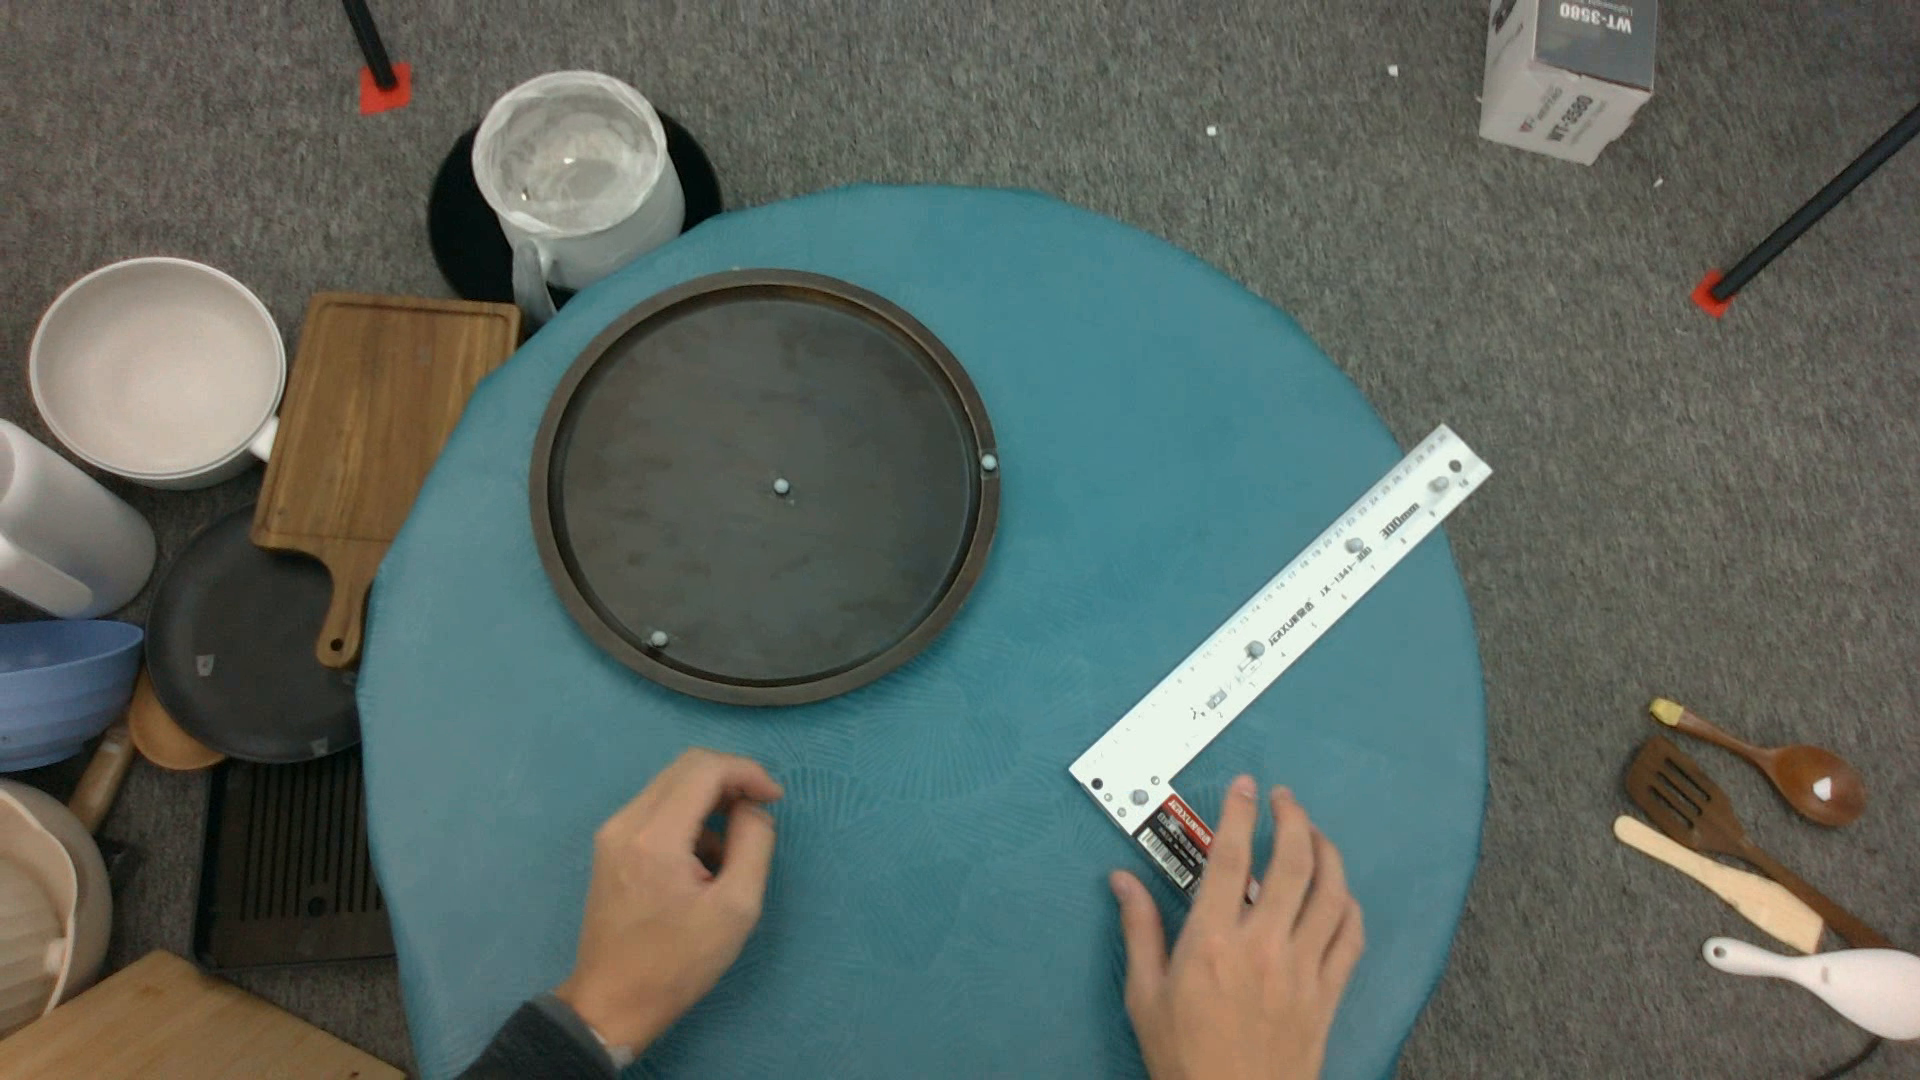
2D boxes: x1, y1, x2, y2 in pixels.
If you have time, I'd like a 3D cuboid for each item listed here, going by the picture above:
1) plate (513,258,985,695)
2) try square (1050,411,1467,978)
[{"bbox_3d":[-0.113,-0.039,0.751,0.255,0.029,0.255,2,70,-7],"label":"plate"},{"bbox_3d":[0.208,0.073,0.756,0.314,0.016,0.152,-40,80,-18],"label":"try square"}]
